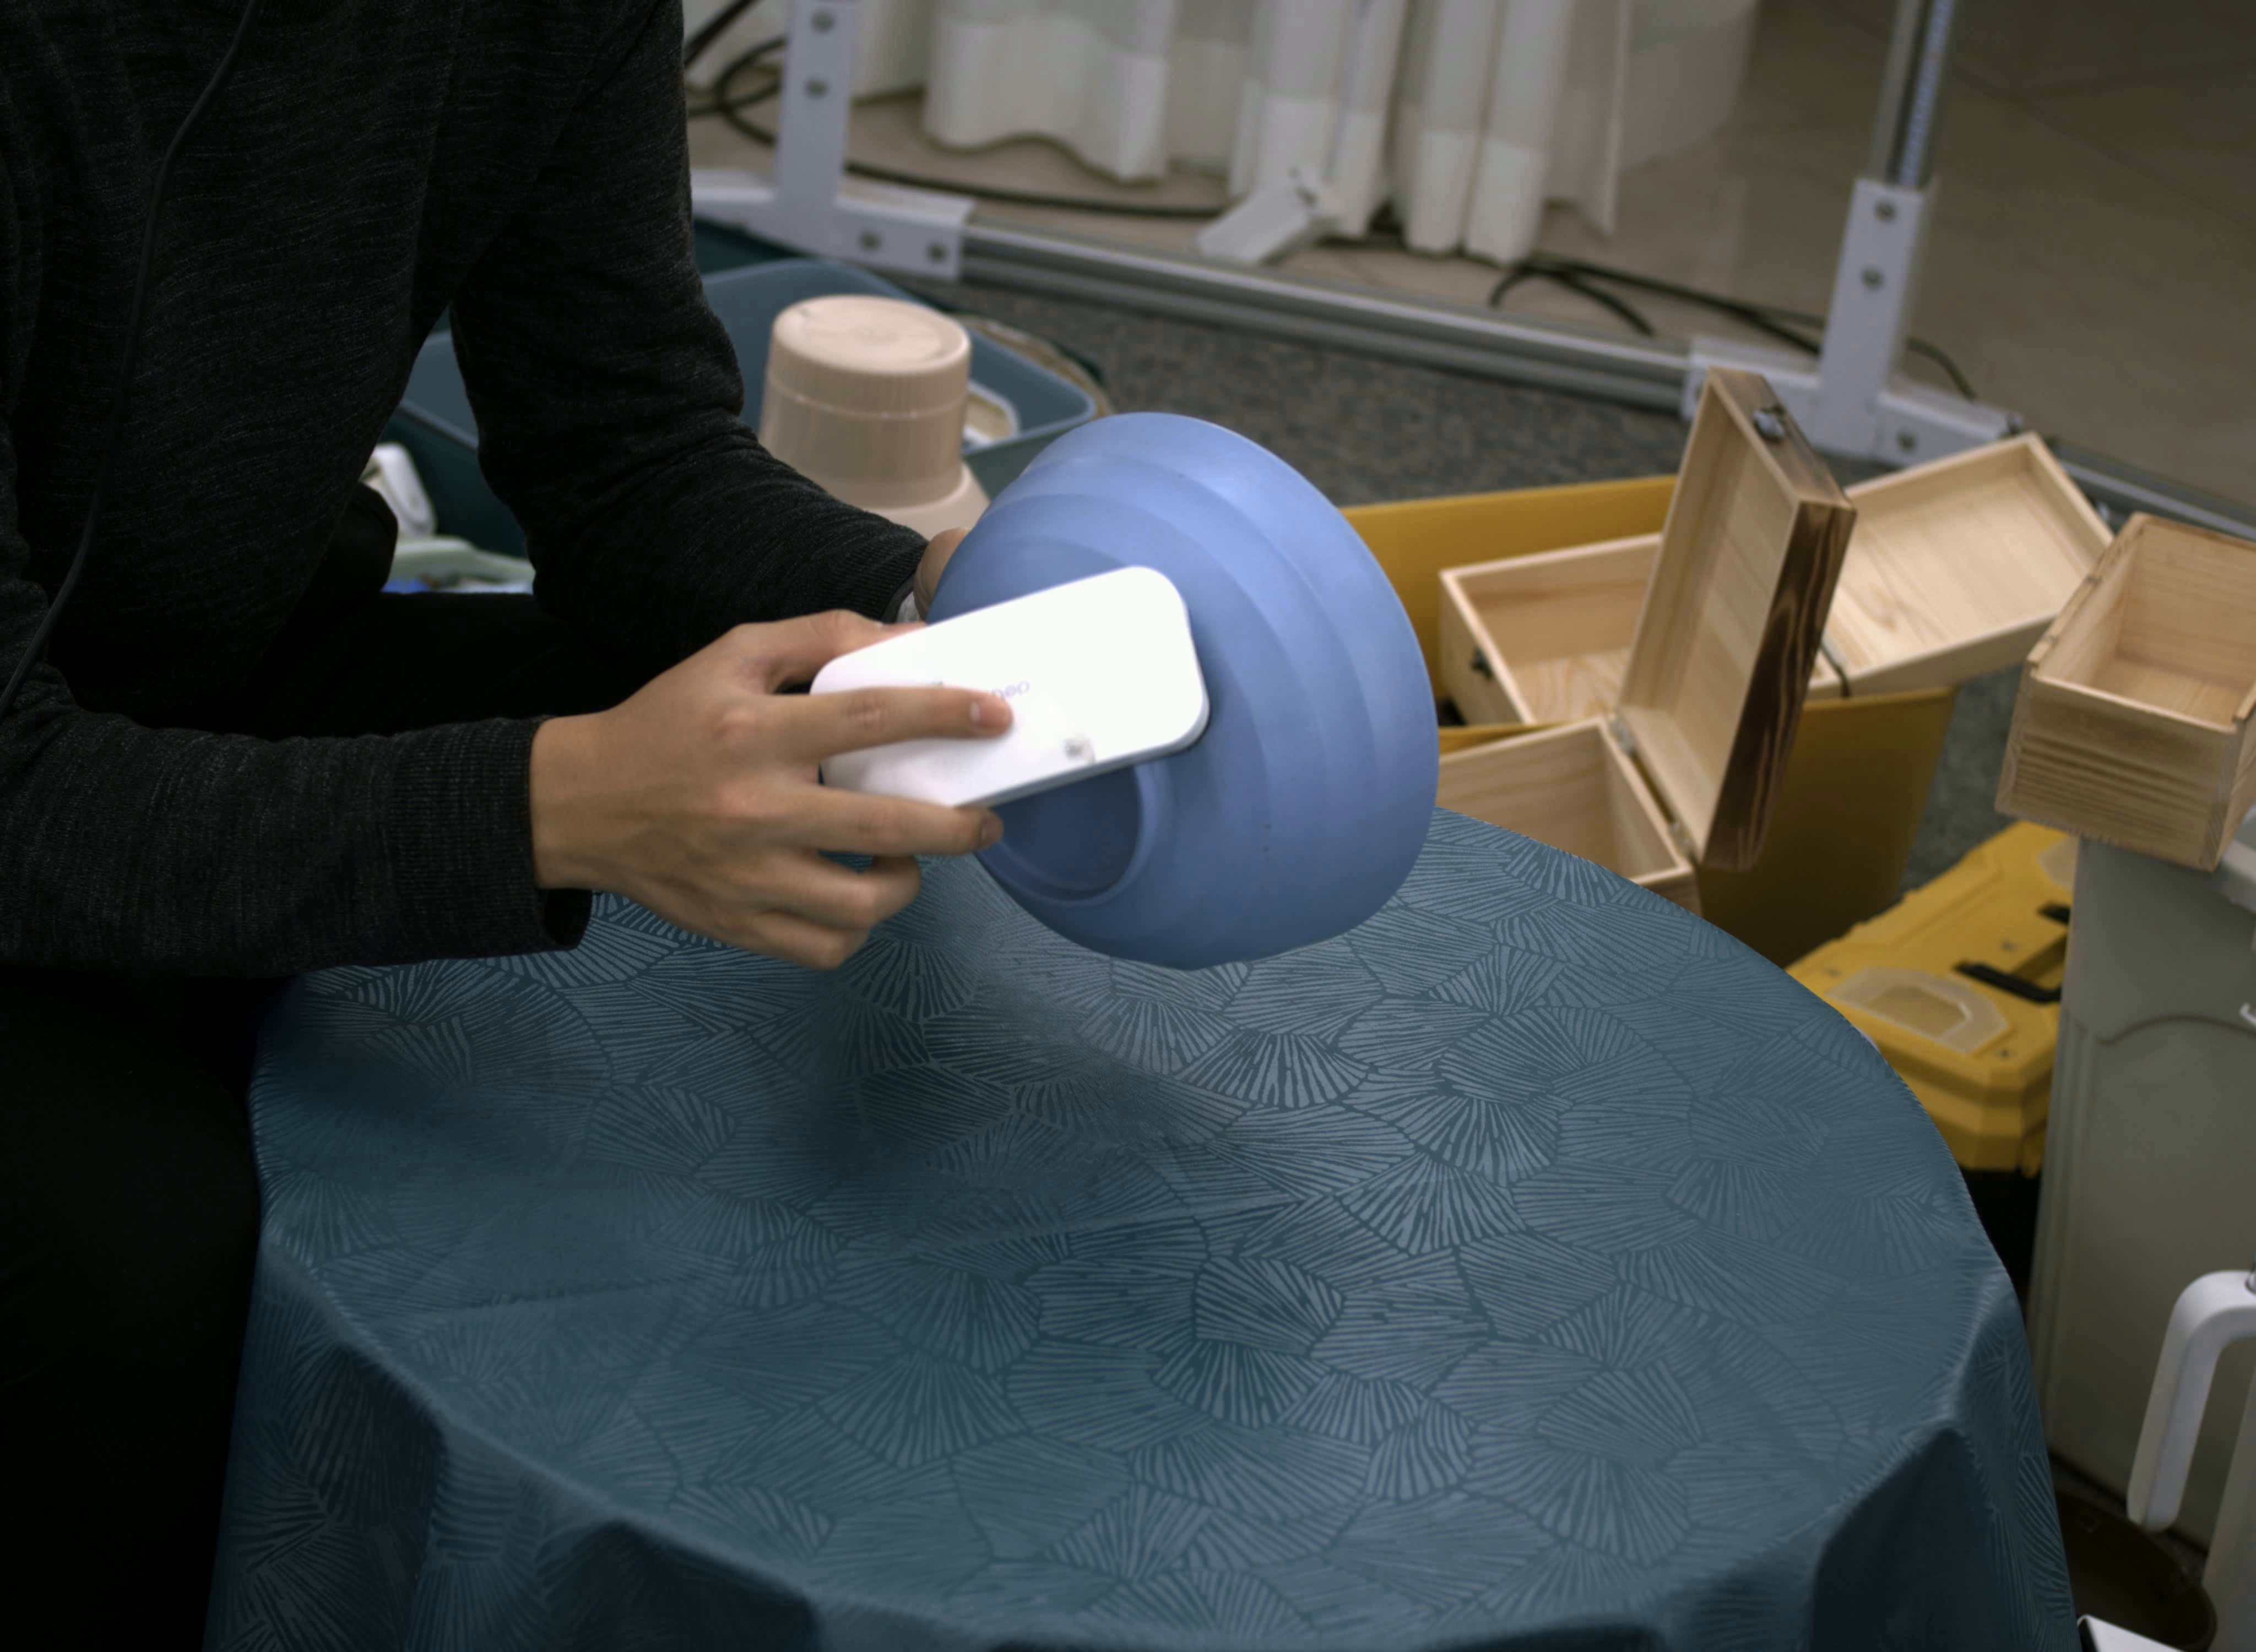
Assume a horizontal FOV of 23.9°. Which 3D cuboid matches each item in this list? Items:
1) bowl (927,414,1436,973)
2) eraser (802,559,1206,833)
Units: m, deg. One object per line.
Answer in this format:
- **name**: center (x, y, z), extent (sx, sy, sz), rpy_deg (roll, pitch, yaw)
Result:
- **bowl**: center (-0.003, -0.031, 1.793), extent (0.198, 0.196, 0.095), rpy_deg (25, 36, 31)
- **eraser**: center (-0.041, -0.042, 1.724), extent (0.131, 0.064, 0.034), rpy_deg (-16, -18, 13)
